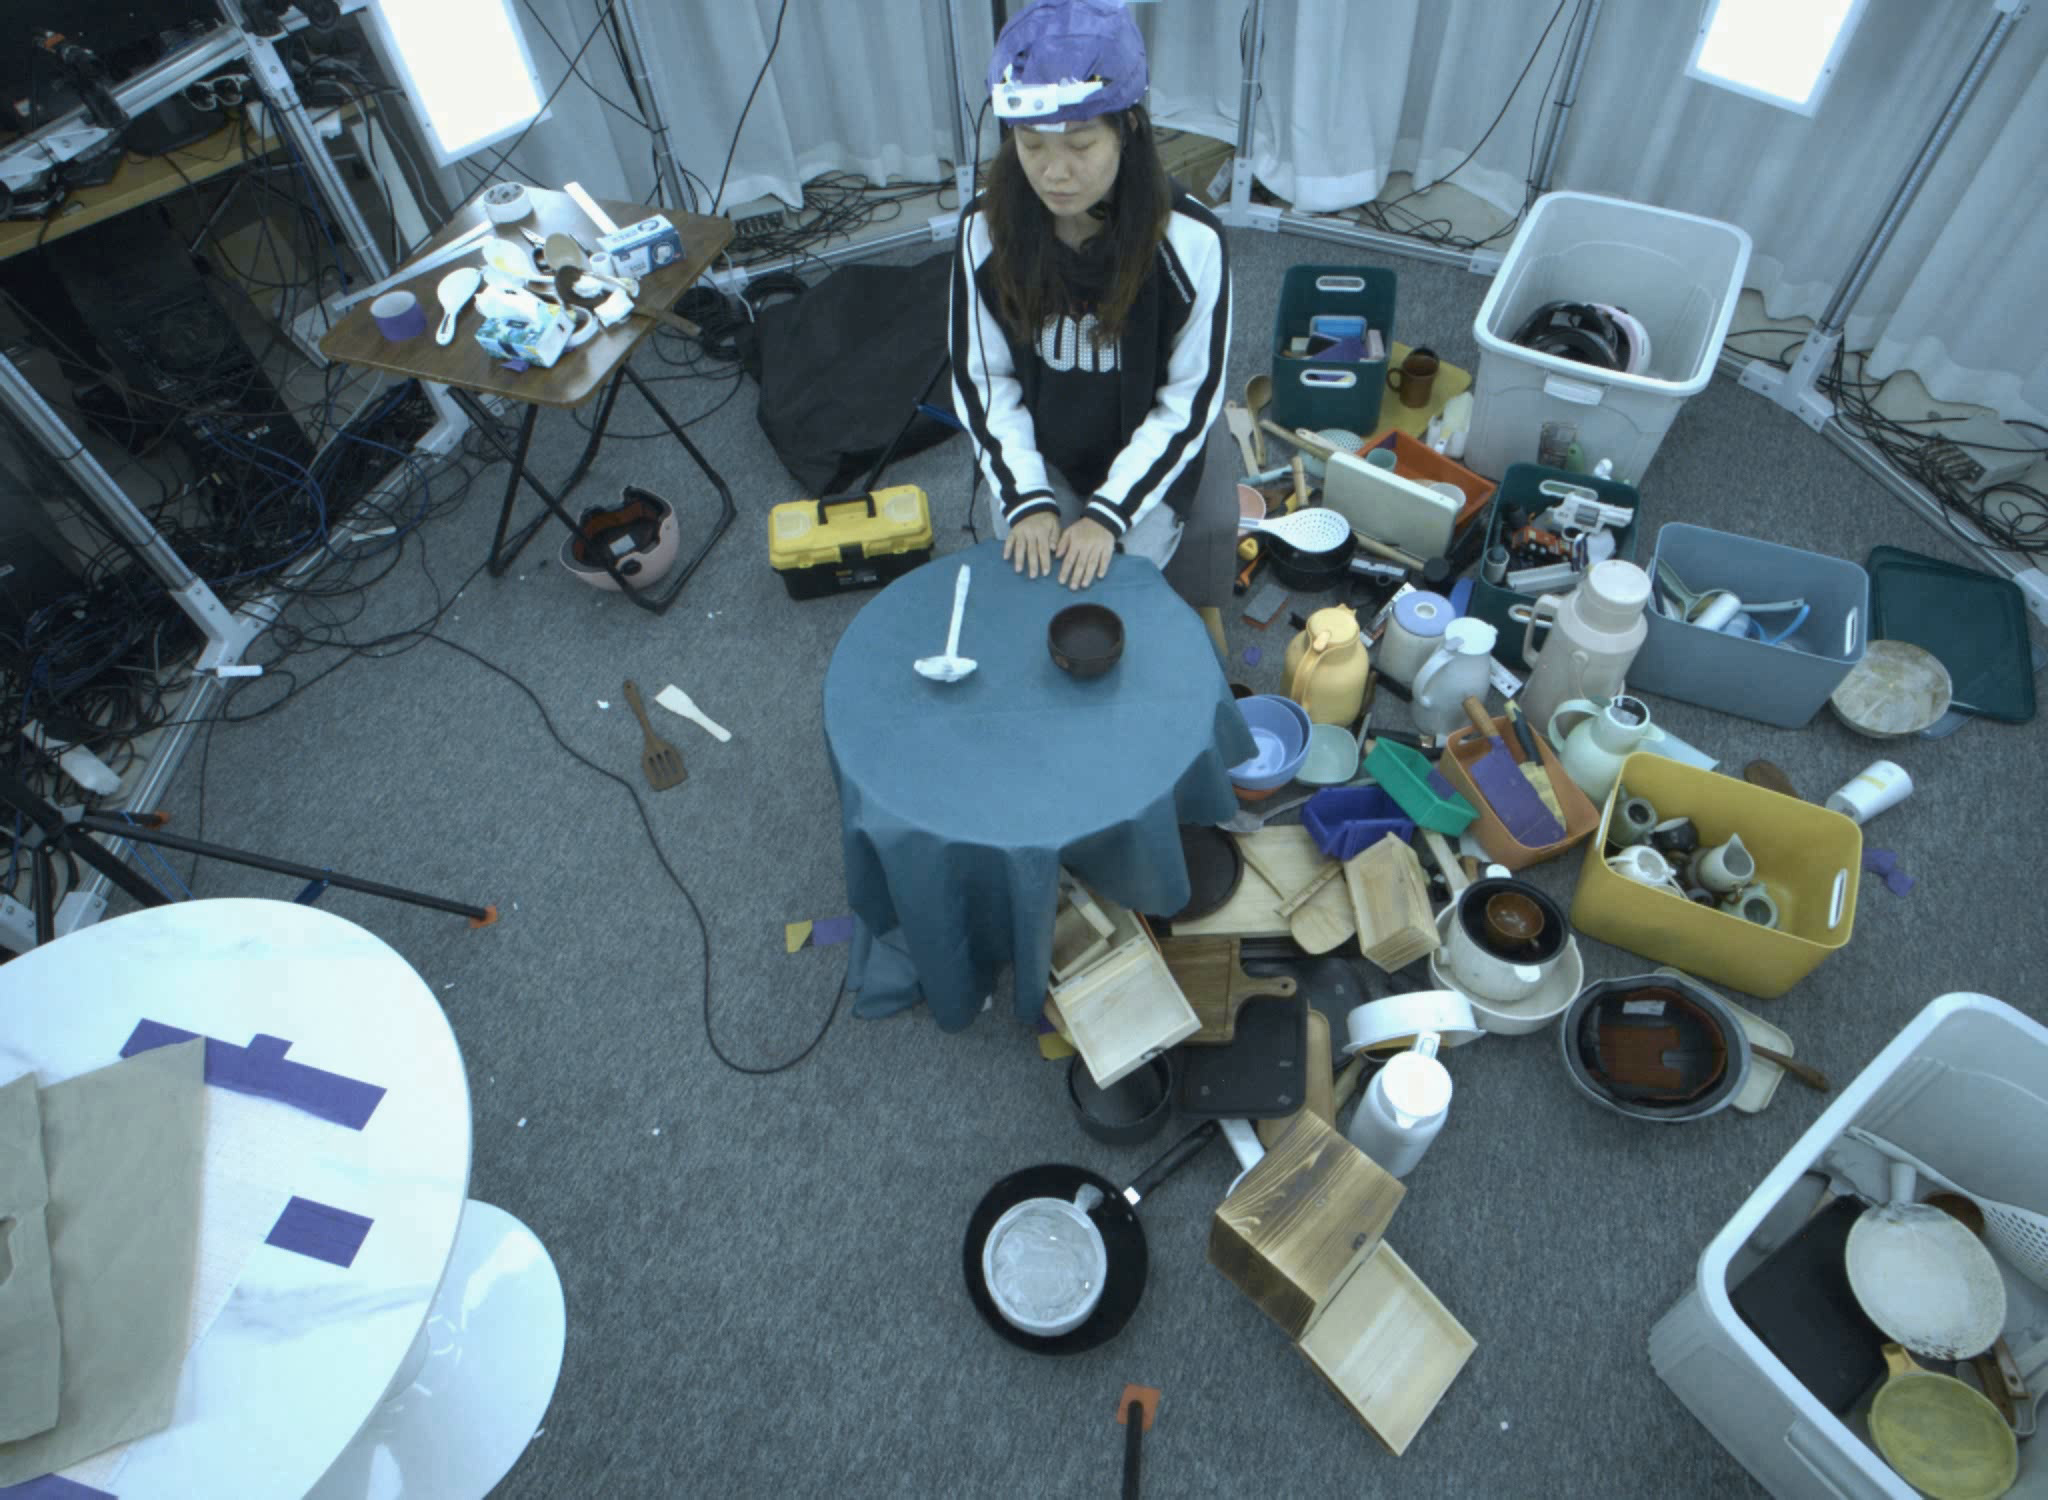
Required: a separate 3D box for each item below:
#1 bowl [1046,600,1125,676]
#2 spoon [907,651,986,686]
[{"bbox_3d":[0.093,-0.160,1.853,0.118,0.070,0.117,0,55,2],"label":"bowl"},{"bbox_3d":[-0.143,-0.109,1.939,0.102,0.274,0.059,-2,81,-23],"label":"spoon"}]
